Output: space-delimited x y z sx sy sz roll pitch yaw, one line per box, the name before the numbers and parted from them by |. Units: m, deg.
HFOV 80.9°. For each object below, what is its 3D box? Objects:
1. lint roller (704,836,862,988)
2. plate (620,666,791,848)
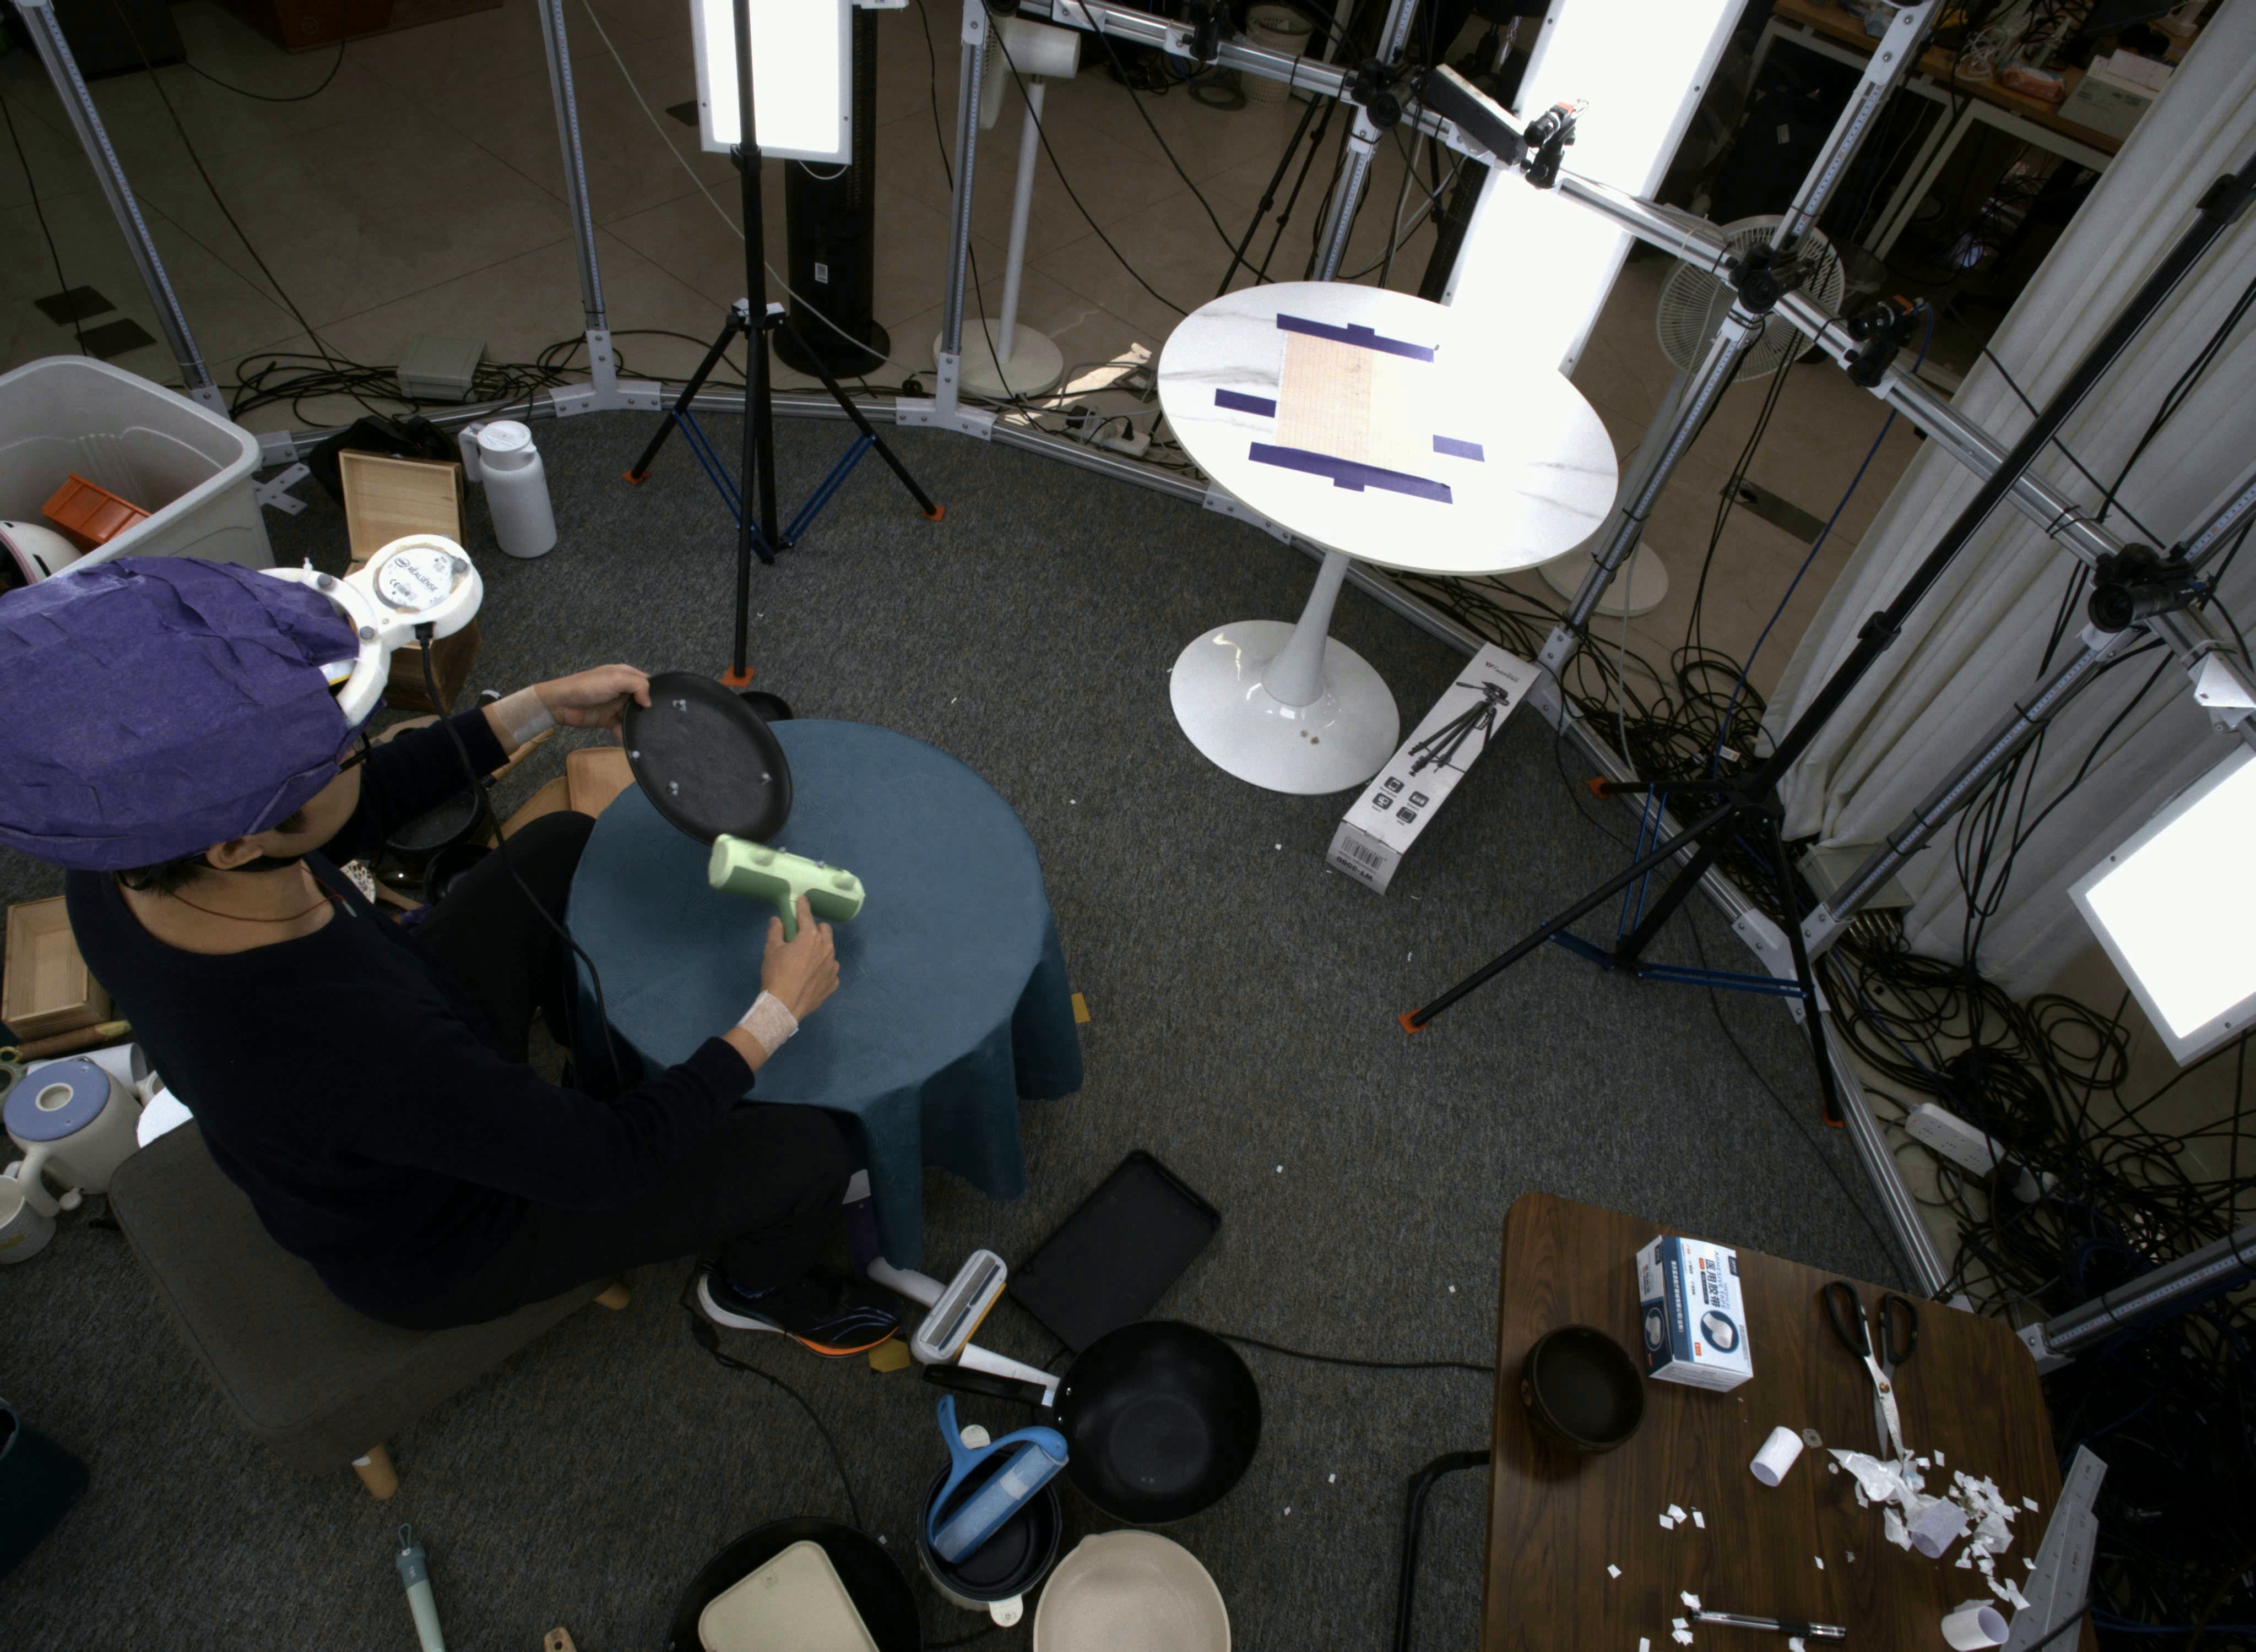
lint roller | -0.378 0.094 1.495 0.204 0.082 0.177 21 28 -46
plate | -0.509 -0.080 1.544 0.253 0.023 0.239 40 36 -34
